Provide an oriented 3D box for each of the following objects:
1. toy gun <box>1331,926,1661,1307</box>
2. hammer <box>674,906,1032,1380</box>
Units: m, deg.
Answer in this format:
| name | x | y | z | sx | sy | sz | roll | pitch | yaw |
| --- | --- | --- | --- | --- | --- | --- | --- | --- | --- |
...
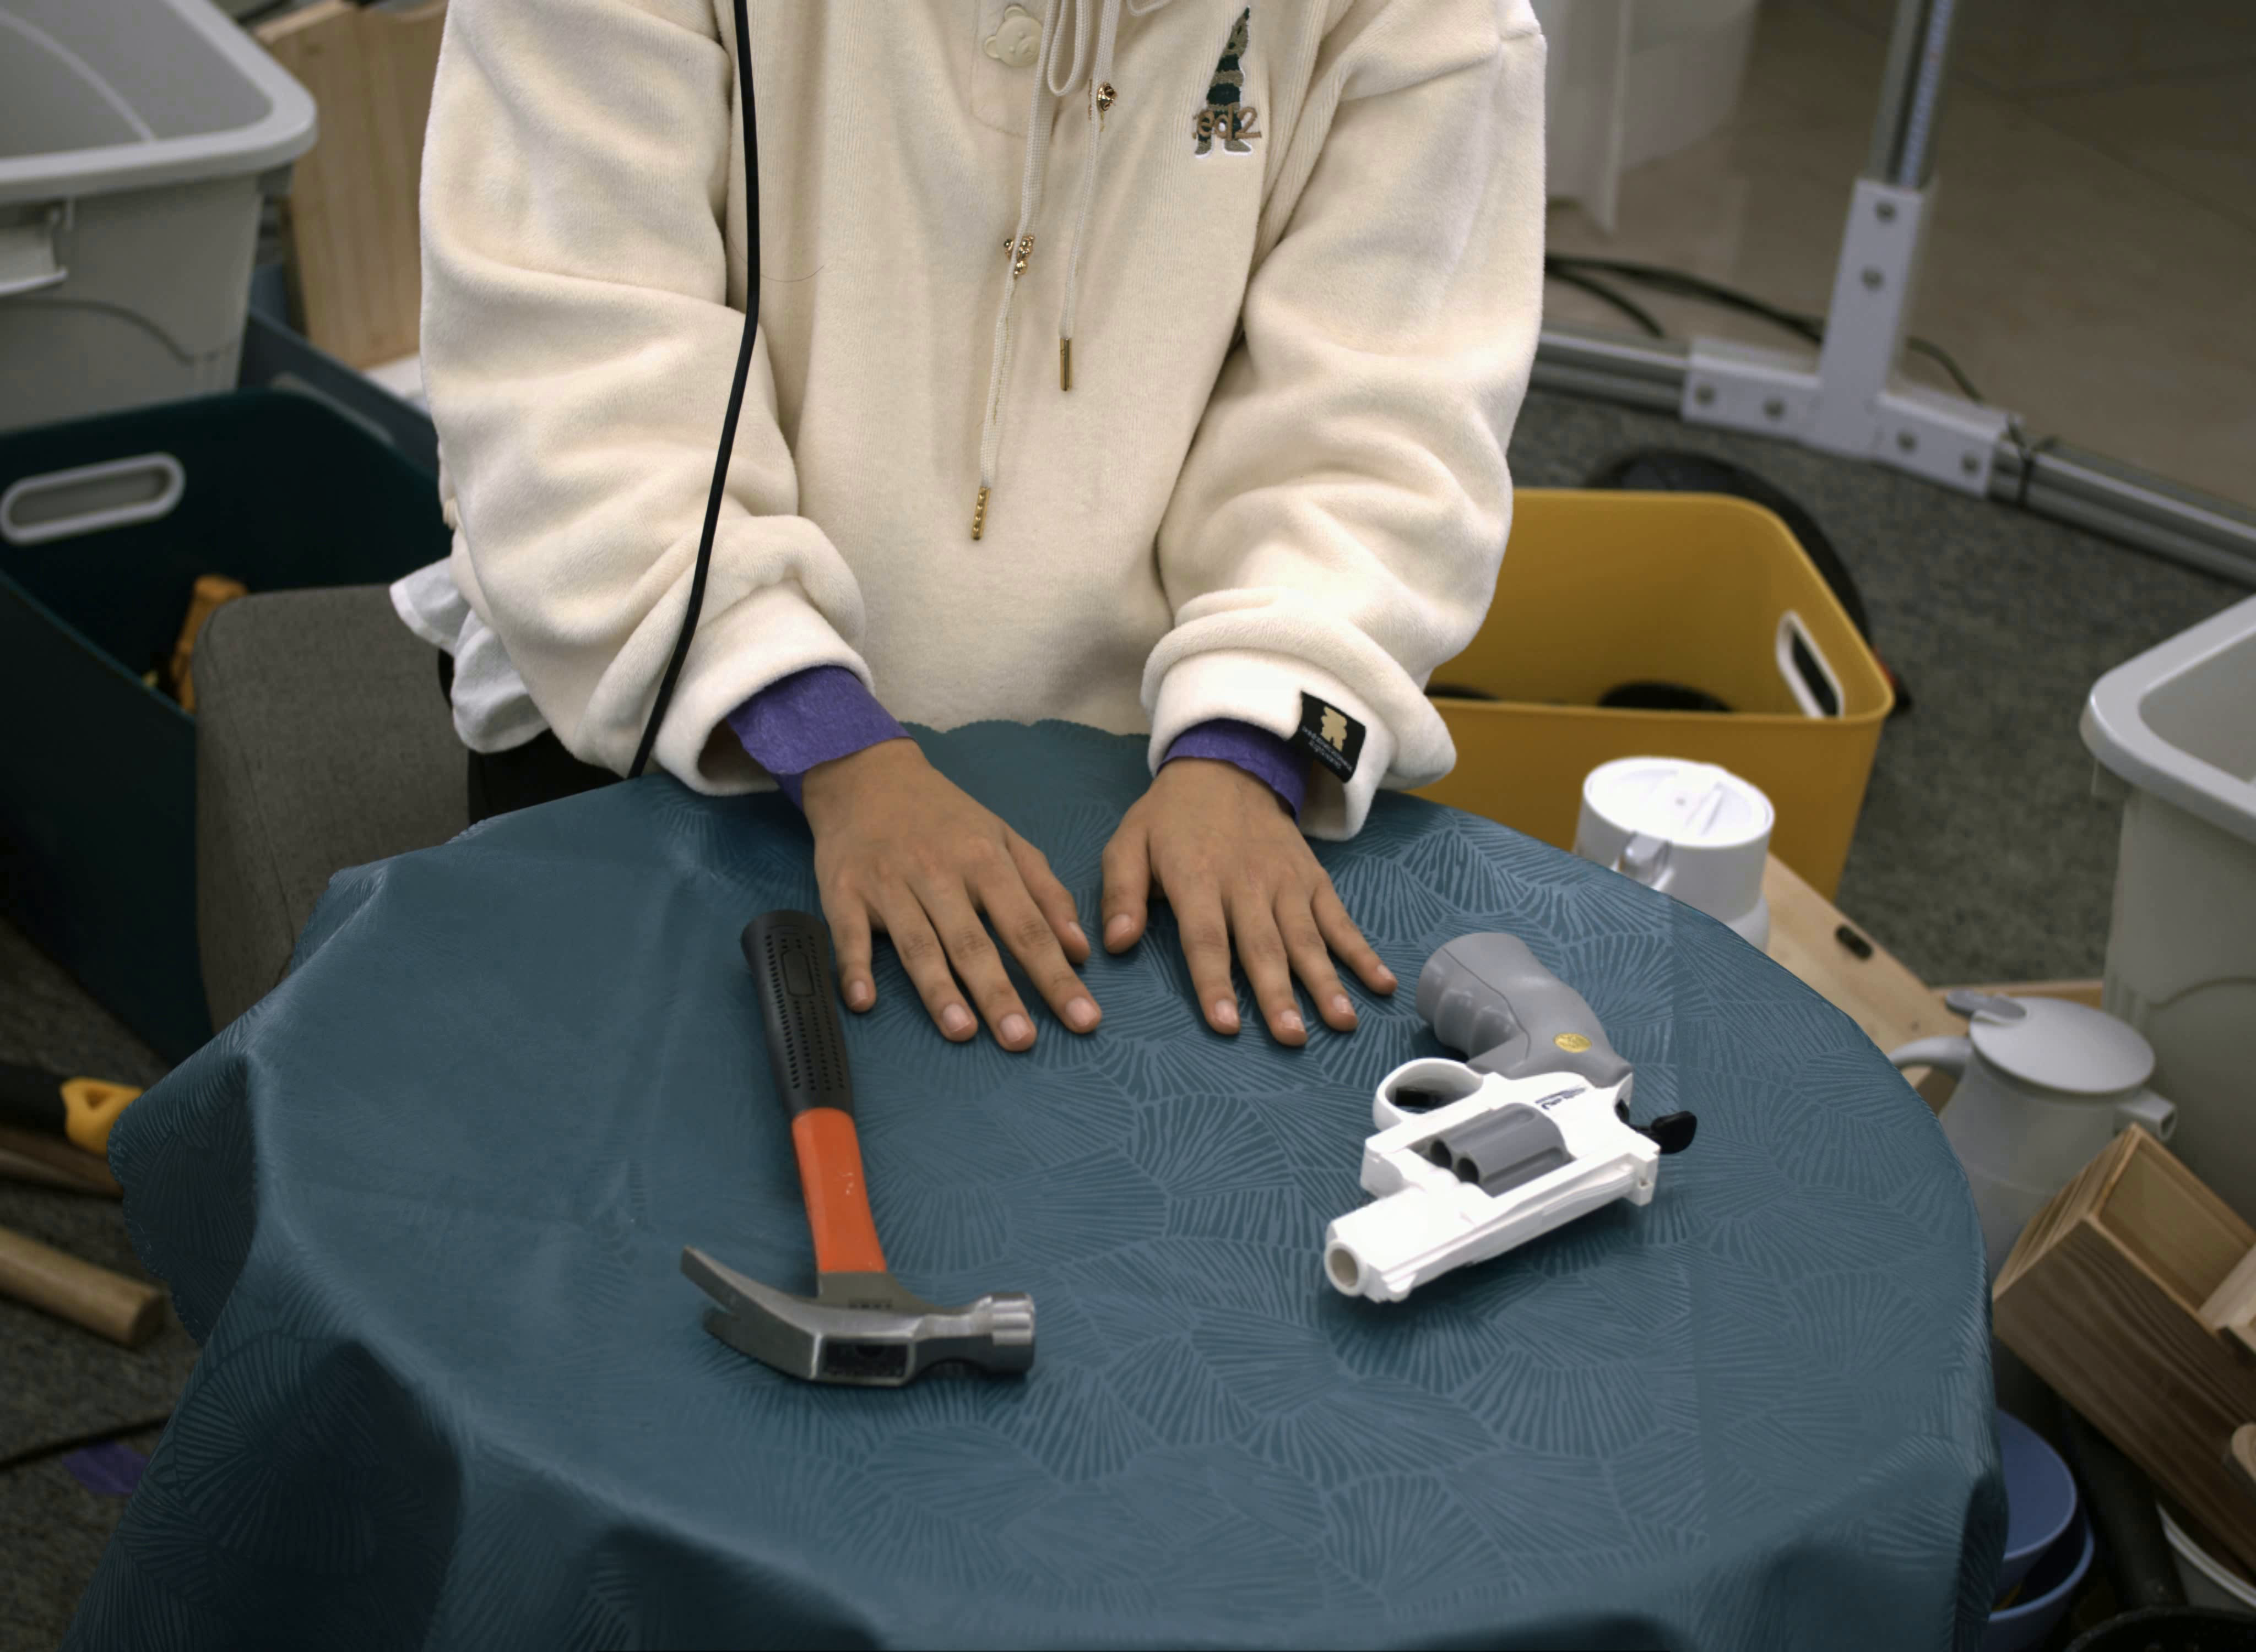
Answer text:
| name | x | y | z | sx | sy | sz | roll | pitch | yaw |
| --- | --- | --- | --- | --- | --- | --- | --- | --- | --- |
| toy gun | 0.112 | 0.099 | 1.831 | 0.143 | 0.038 | 0.208 | 30 | 35 | 35 |
| hammer | -0.104 | 0.102 | 1.790 | 0.110 | 0.026 | 0.279 | -6 | 28 | -6 |
